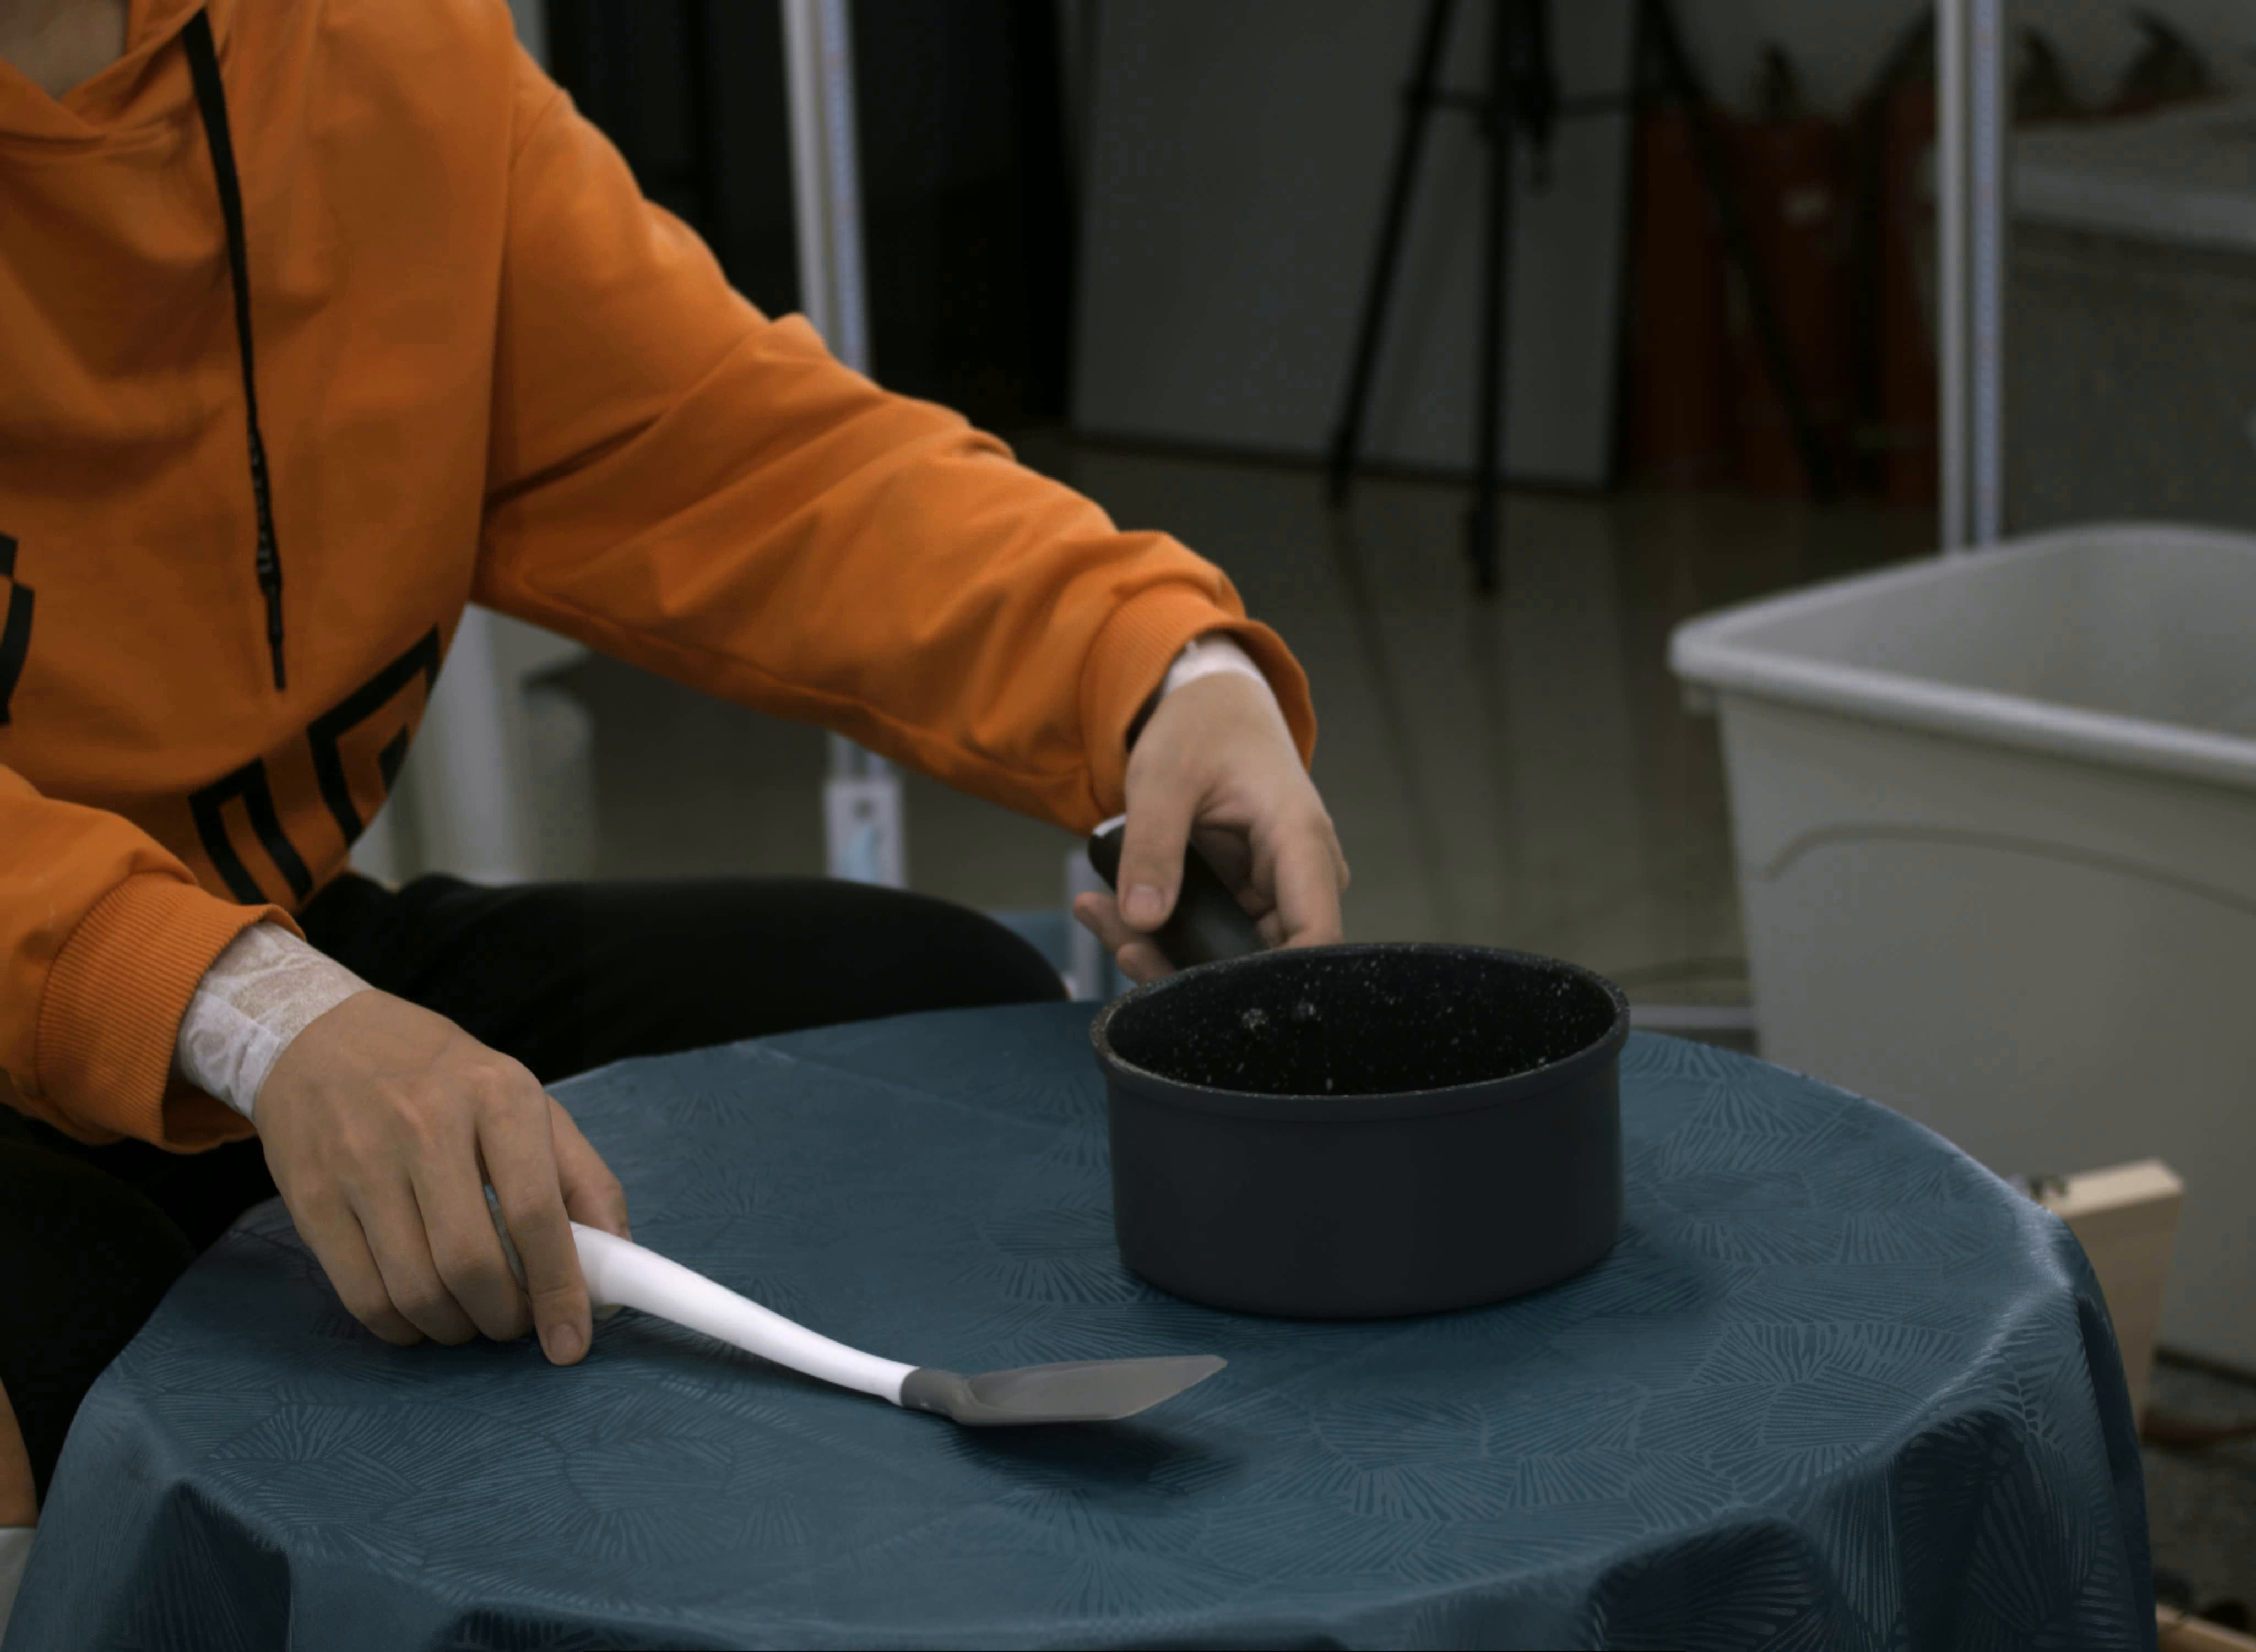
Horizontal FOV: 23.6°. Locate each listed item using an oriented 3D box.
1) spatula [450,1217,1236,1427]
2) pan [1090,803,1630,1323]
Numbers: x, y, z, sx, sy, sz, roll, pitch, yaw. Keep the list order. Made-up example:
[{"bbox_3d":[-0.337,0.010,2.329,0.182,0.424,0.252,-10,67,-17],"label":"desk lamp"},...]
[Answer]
[{"bbox_3d":[-0.091,0.152,1.606,0.290,0.032,0.057,7,14,40],"label":"spatula"},{"bbox_3d":[0.054,0.074,1.769,0.169,0.087,0.331,-7,16,-13],"label":"pan"}]
